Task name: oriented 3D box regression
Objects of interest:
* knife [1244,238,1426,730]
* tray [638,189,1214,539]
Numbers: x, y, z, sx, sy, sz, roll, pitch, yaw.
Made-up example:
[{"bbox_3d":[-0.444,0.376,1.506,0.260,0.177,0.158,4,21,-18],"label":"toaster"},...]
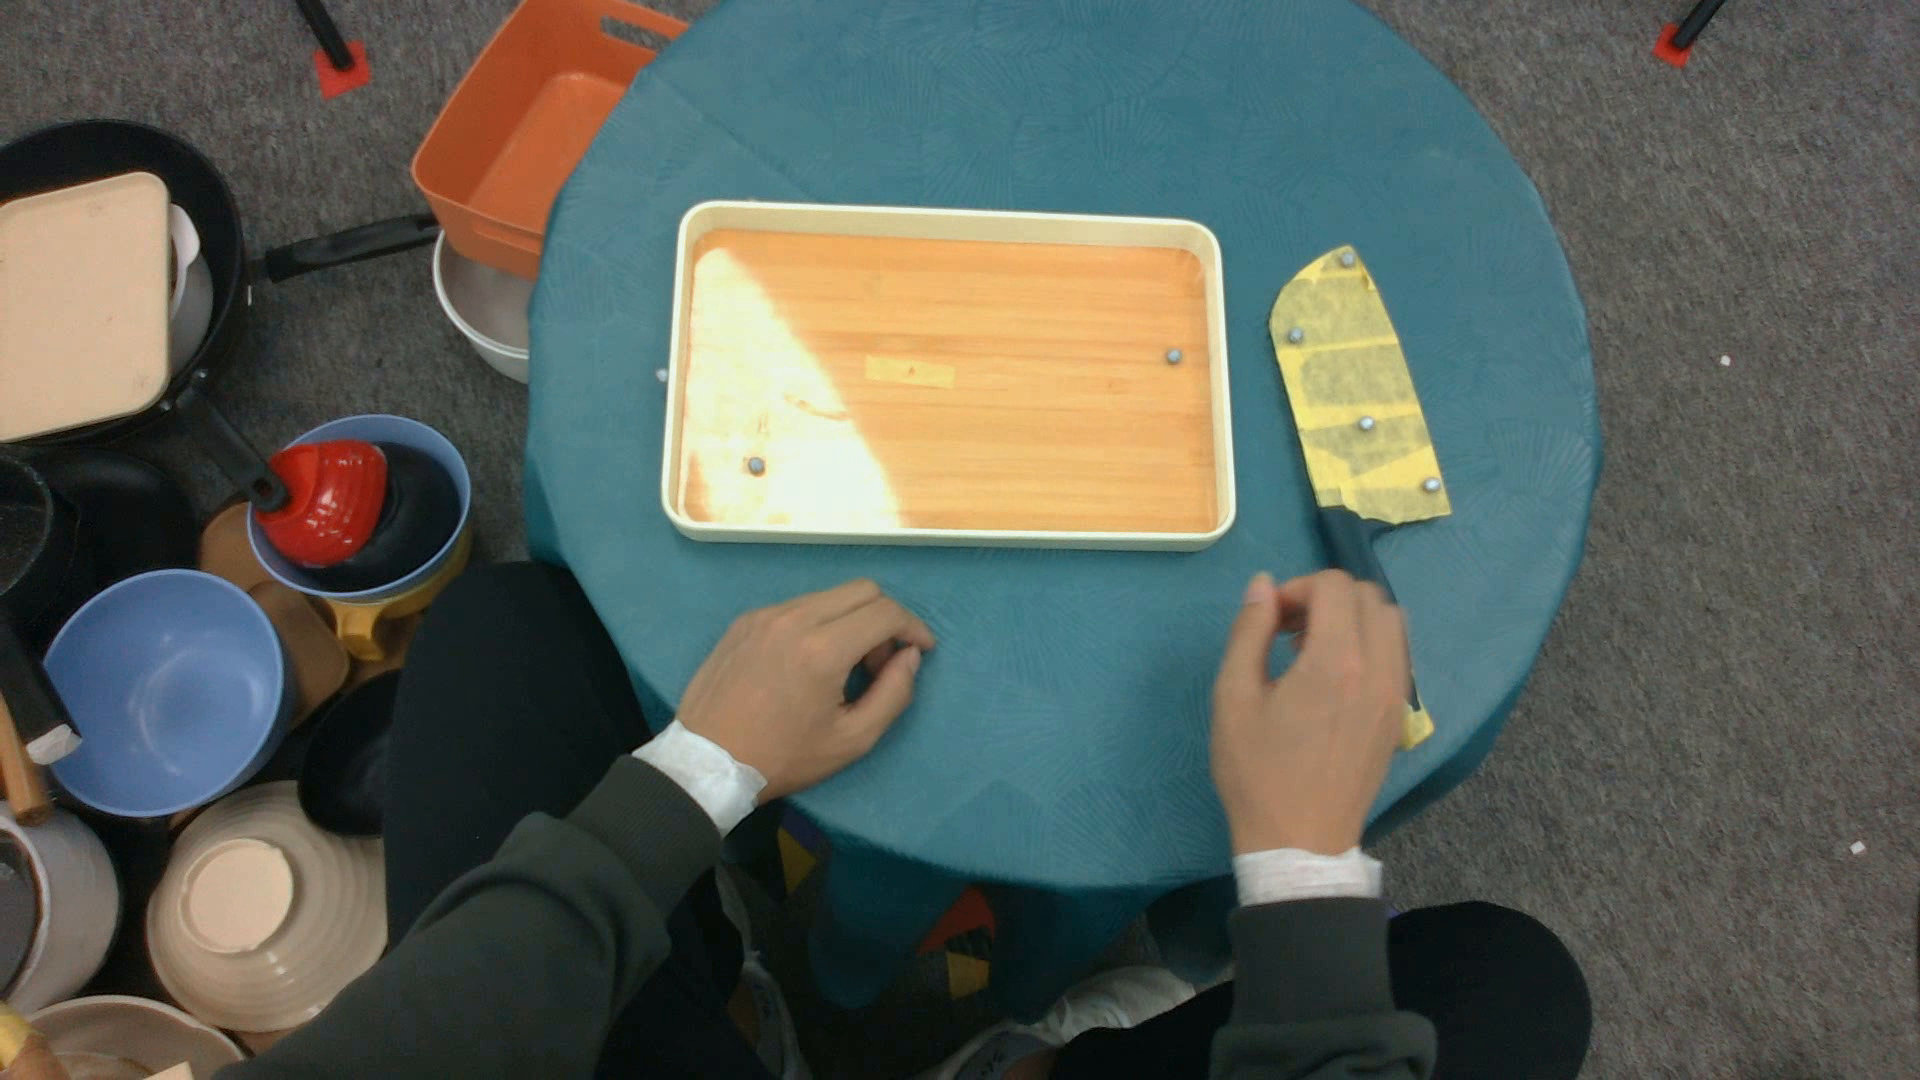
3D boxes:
[{"bbox_3d":[0.213,-0.040,0.756,0.081,0.027,0.290,-6,72,-5],"label":"knife"},{"bbox_3d":[-0.016,-0.096,0.746,0.300,0.027,0.192,1,73,-5],"label":"tray"}]
